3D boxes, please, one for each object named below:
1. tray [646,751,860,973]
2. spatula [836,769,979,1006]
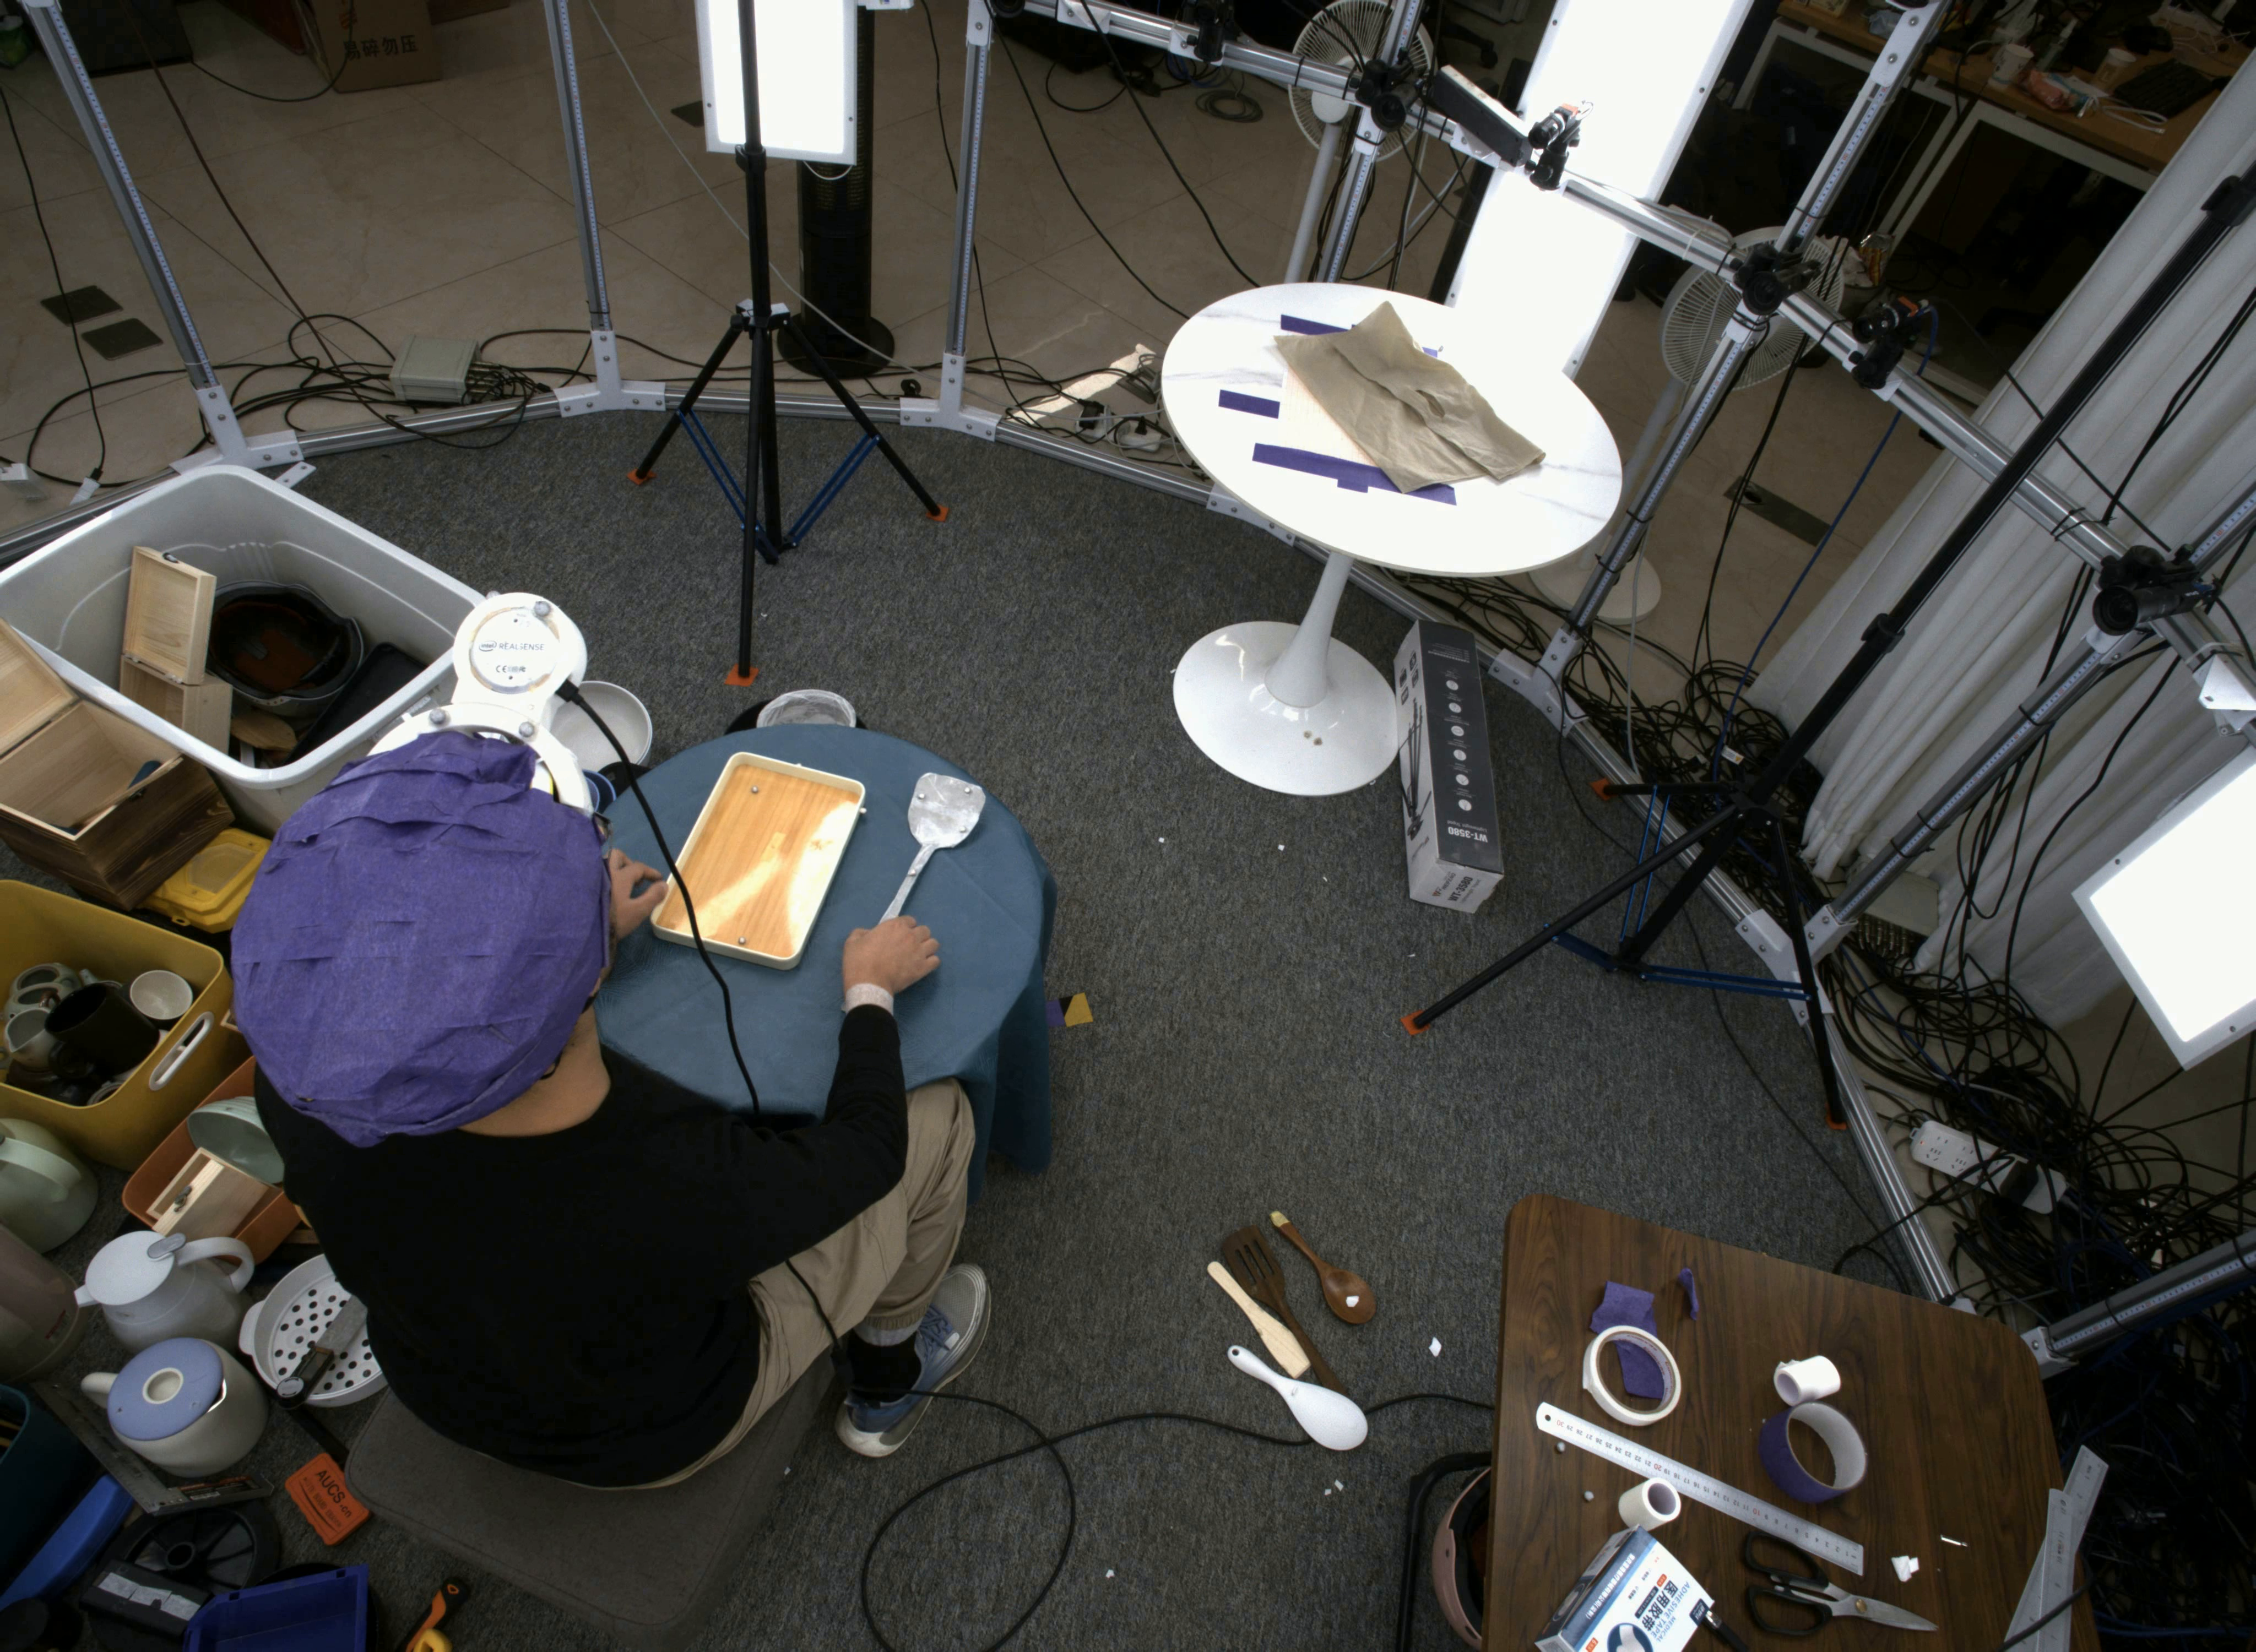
[{"bbox_3d":[-0.475,0.038,1.659,0.190,0.028,0.296,15,52,-3],"label":"tray"},{"bbox_3d":[-0.293,0.074,1.673,0.097,0.046,0.361,18,51,2],"label":"spatula"}]
